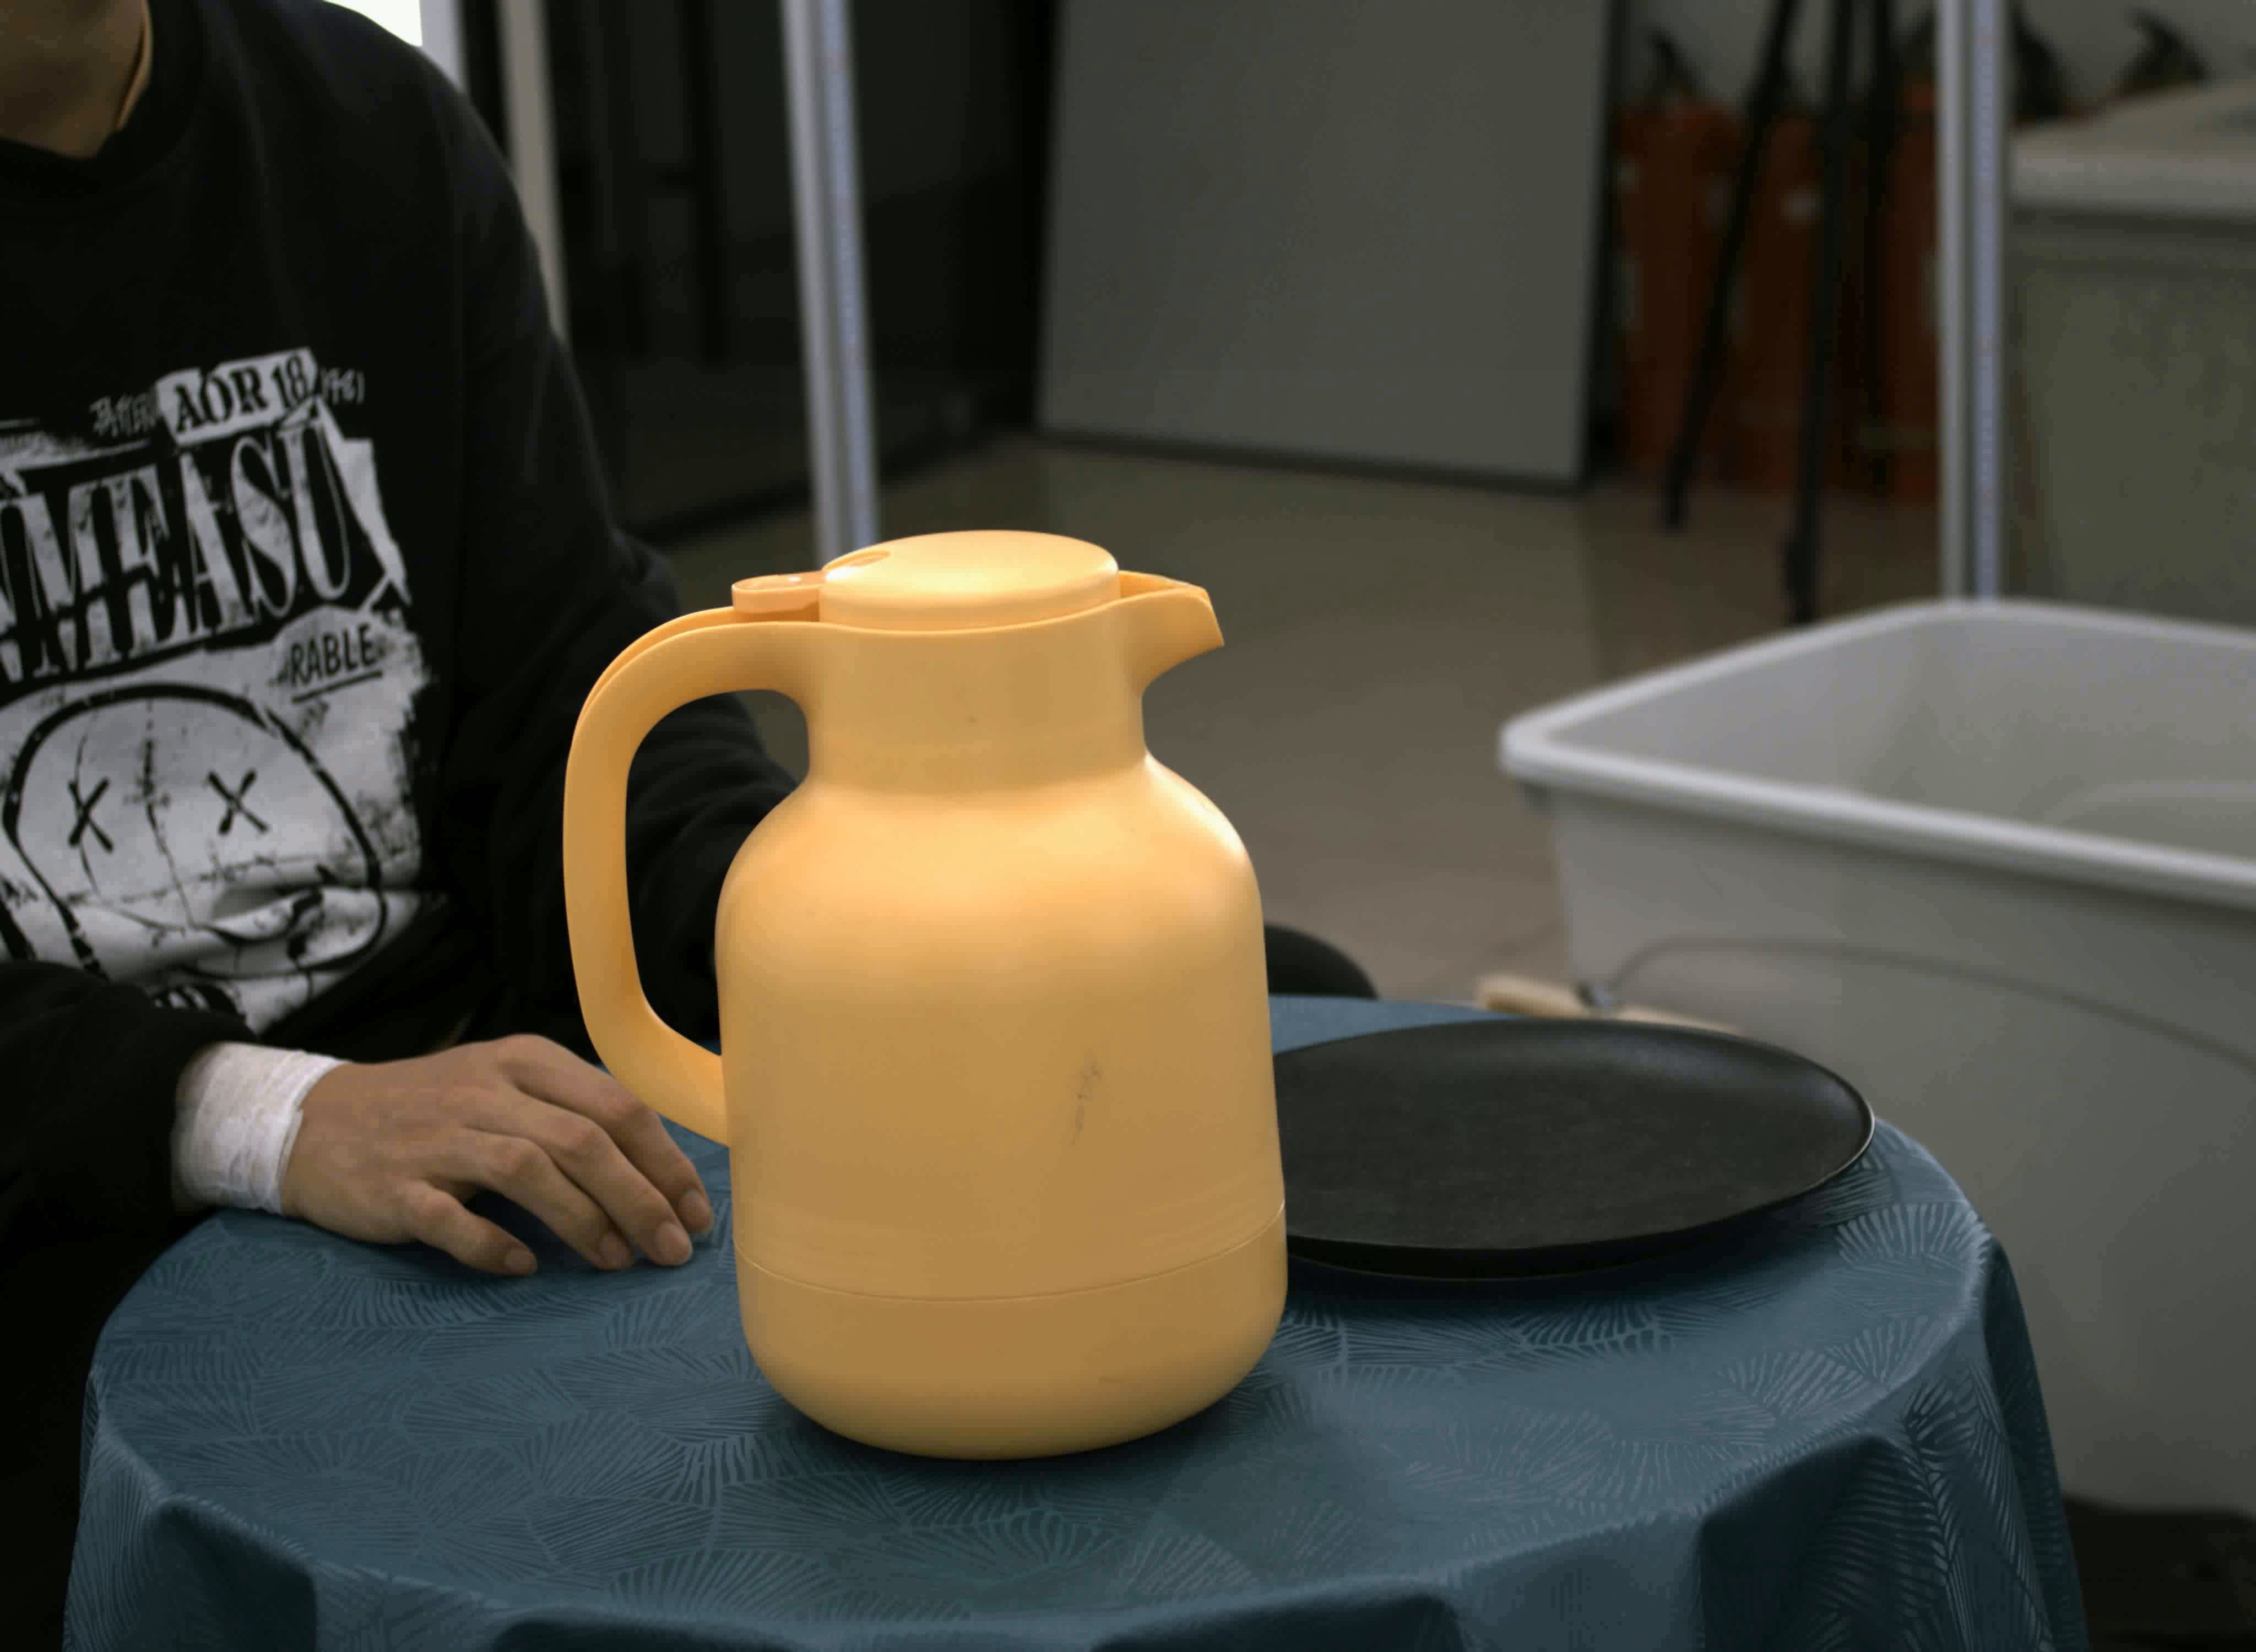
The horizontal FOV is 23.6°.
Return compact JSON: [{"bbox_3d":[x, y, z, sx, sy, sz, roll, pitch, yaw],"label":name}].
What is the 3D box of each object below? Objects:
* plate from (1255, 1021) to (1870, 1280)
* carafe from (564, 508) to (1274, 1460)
[{"bbox_3d":[0.120,0.107,1.744,0.241,0.024,0.245,-4,14,0],"label":"plate"},{"bbox_3d":[-0.060,0.042,1.563,0.200,0.263,0.163,-2,11,1],"label":"carafe"}]
